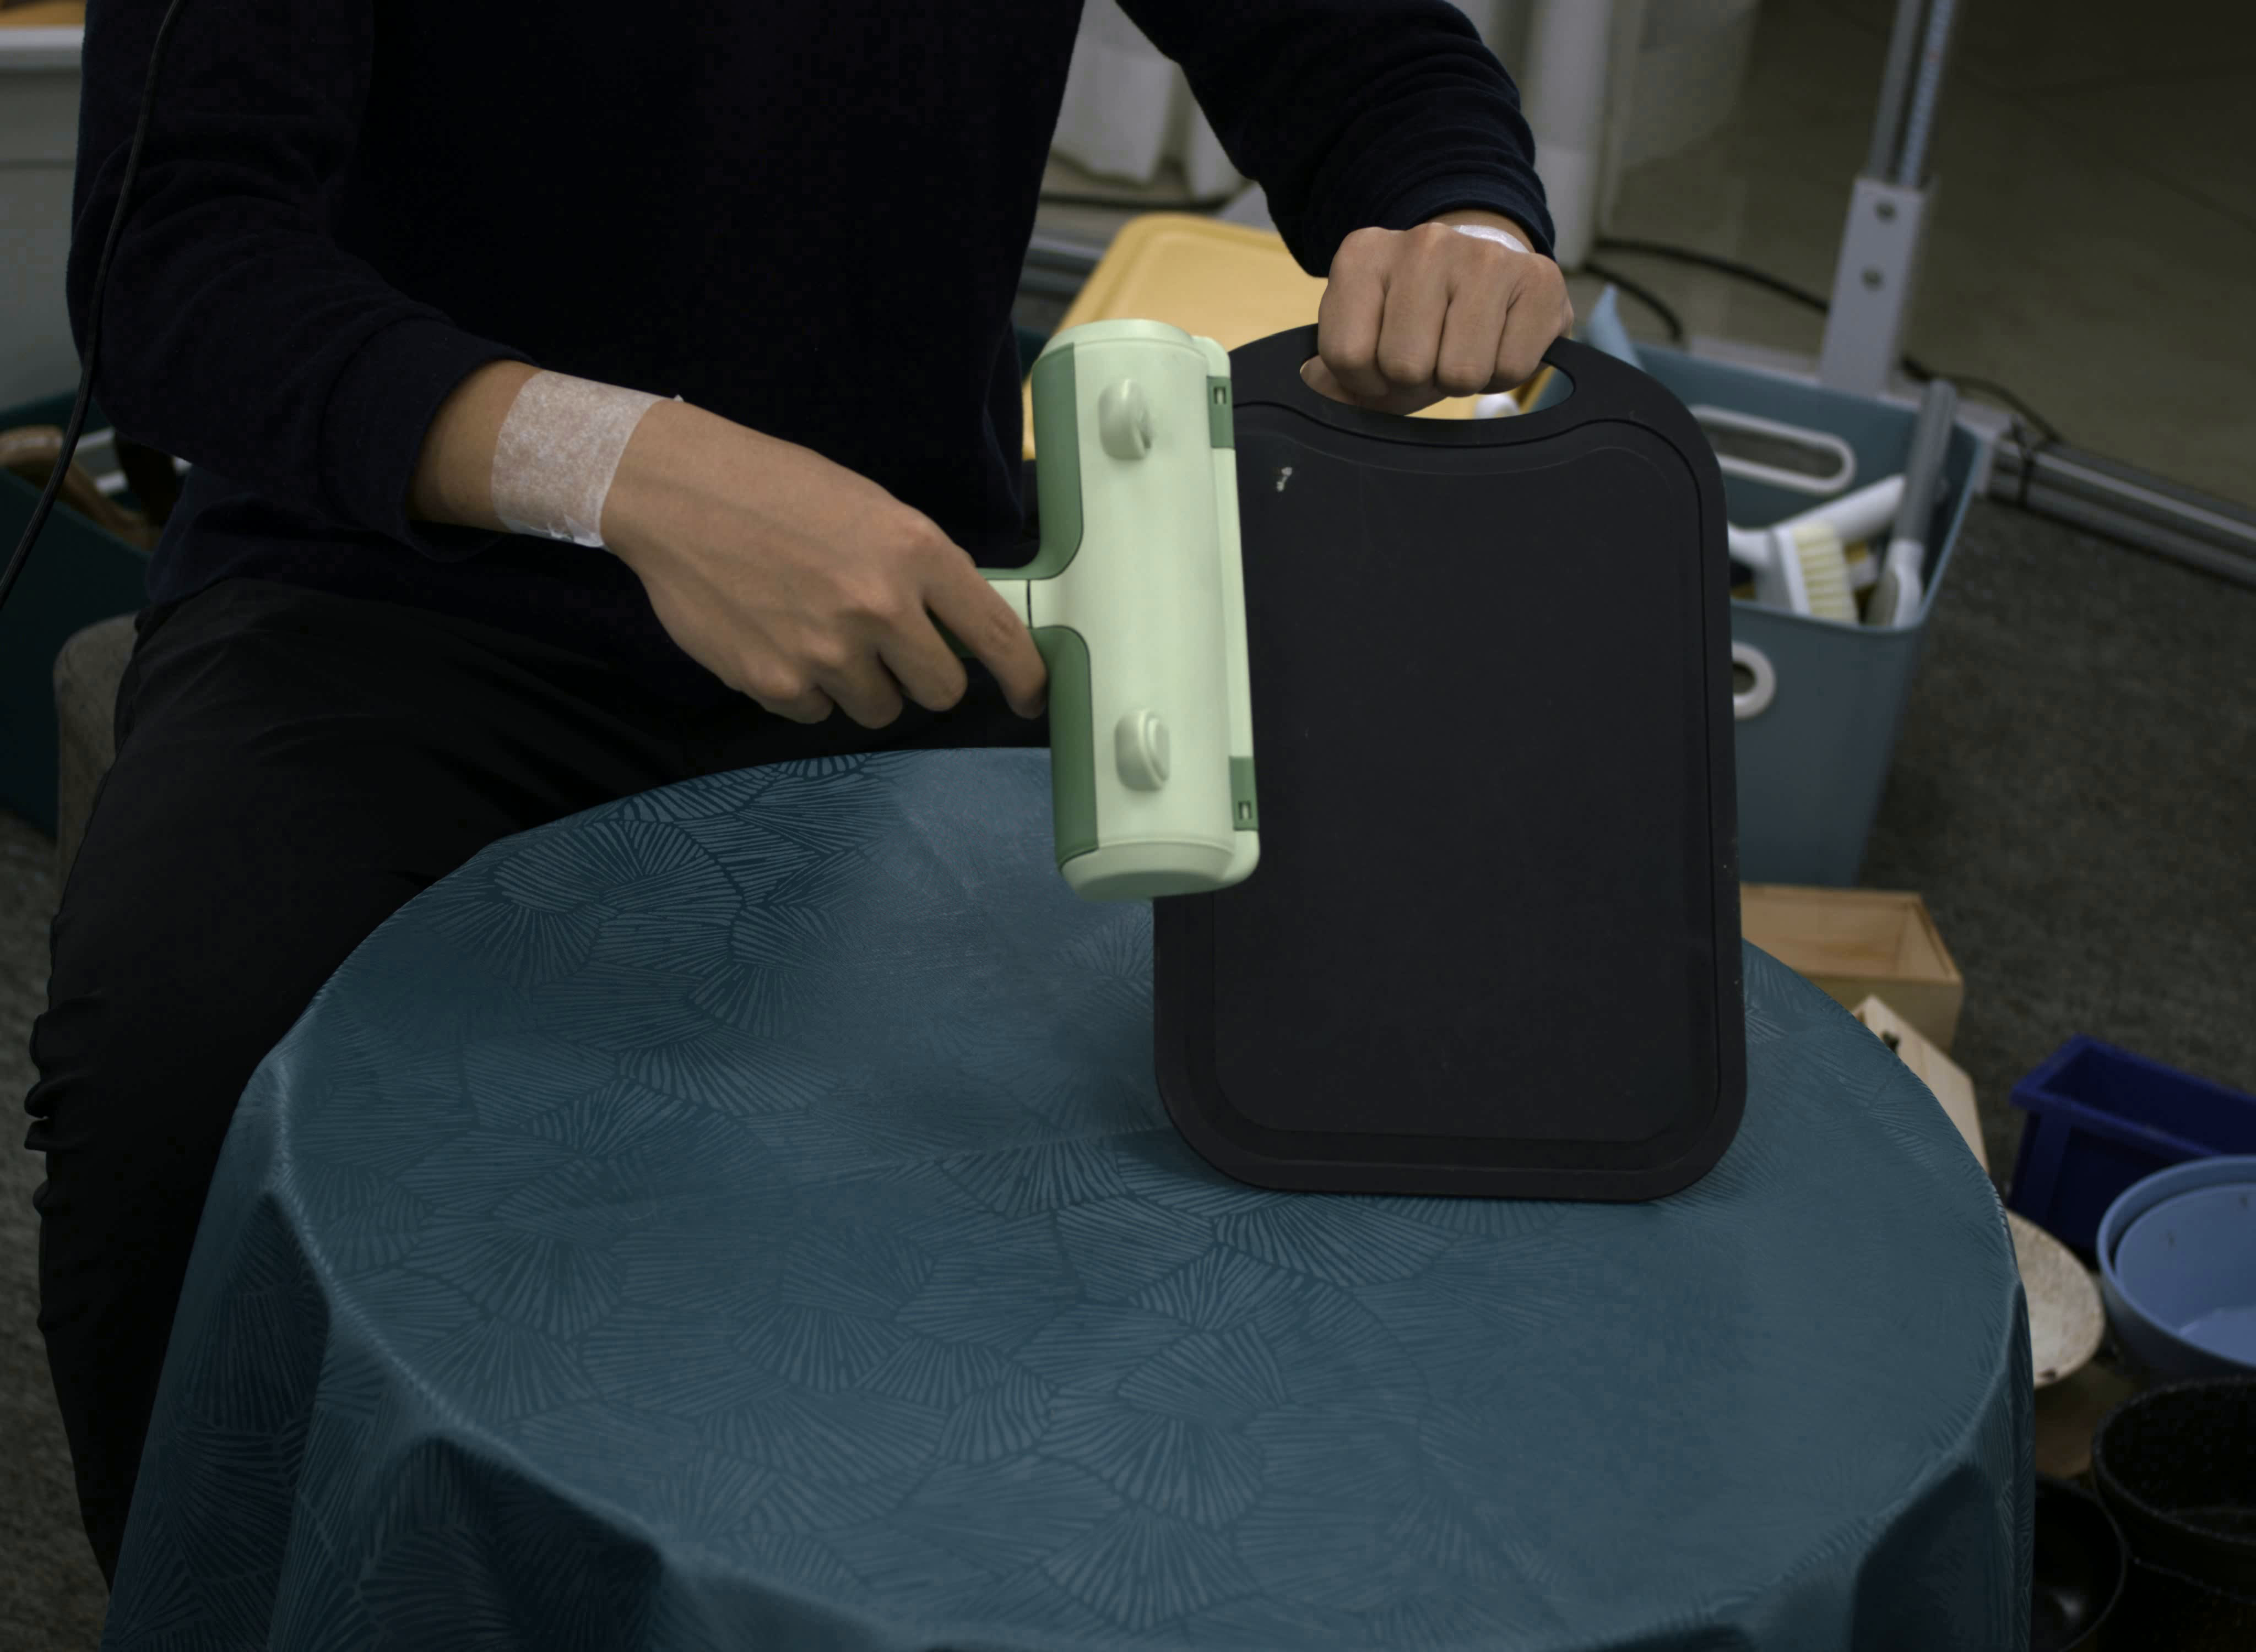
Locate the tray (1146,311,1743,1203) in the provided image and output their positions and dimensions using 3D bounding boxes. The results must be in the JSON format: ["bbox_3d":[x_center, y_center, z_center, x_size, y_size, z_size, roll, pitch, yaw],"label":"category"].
[{"bbox_3d":[0.111,-0.029,1.865,0.210,0.327,0.010,3,-18,-8],"label":"tray"}]

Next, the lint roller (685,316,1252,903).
[{"bbox_3d":[-0.051,-0.076,1.775,0.182,0.200,0.082,2,-16,-17],"label":"lint roller"}]
